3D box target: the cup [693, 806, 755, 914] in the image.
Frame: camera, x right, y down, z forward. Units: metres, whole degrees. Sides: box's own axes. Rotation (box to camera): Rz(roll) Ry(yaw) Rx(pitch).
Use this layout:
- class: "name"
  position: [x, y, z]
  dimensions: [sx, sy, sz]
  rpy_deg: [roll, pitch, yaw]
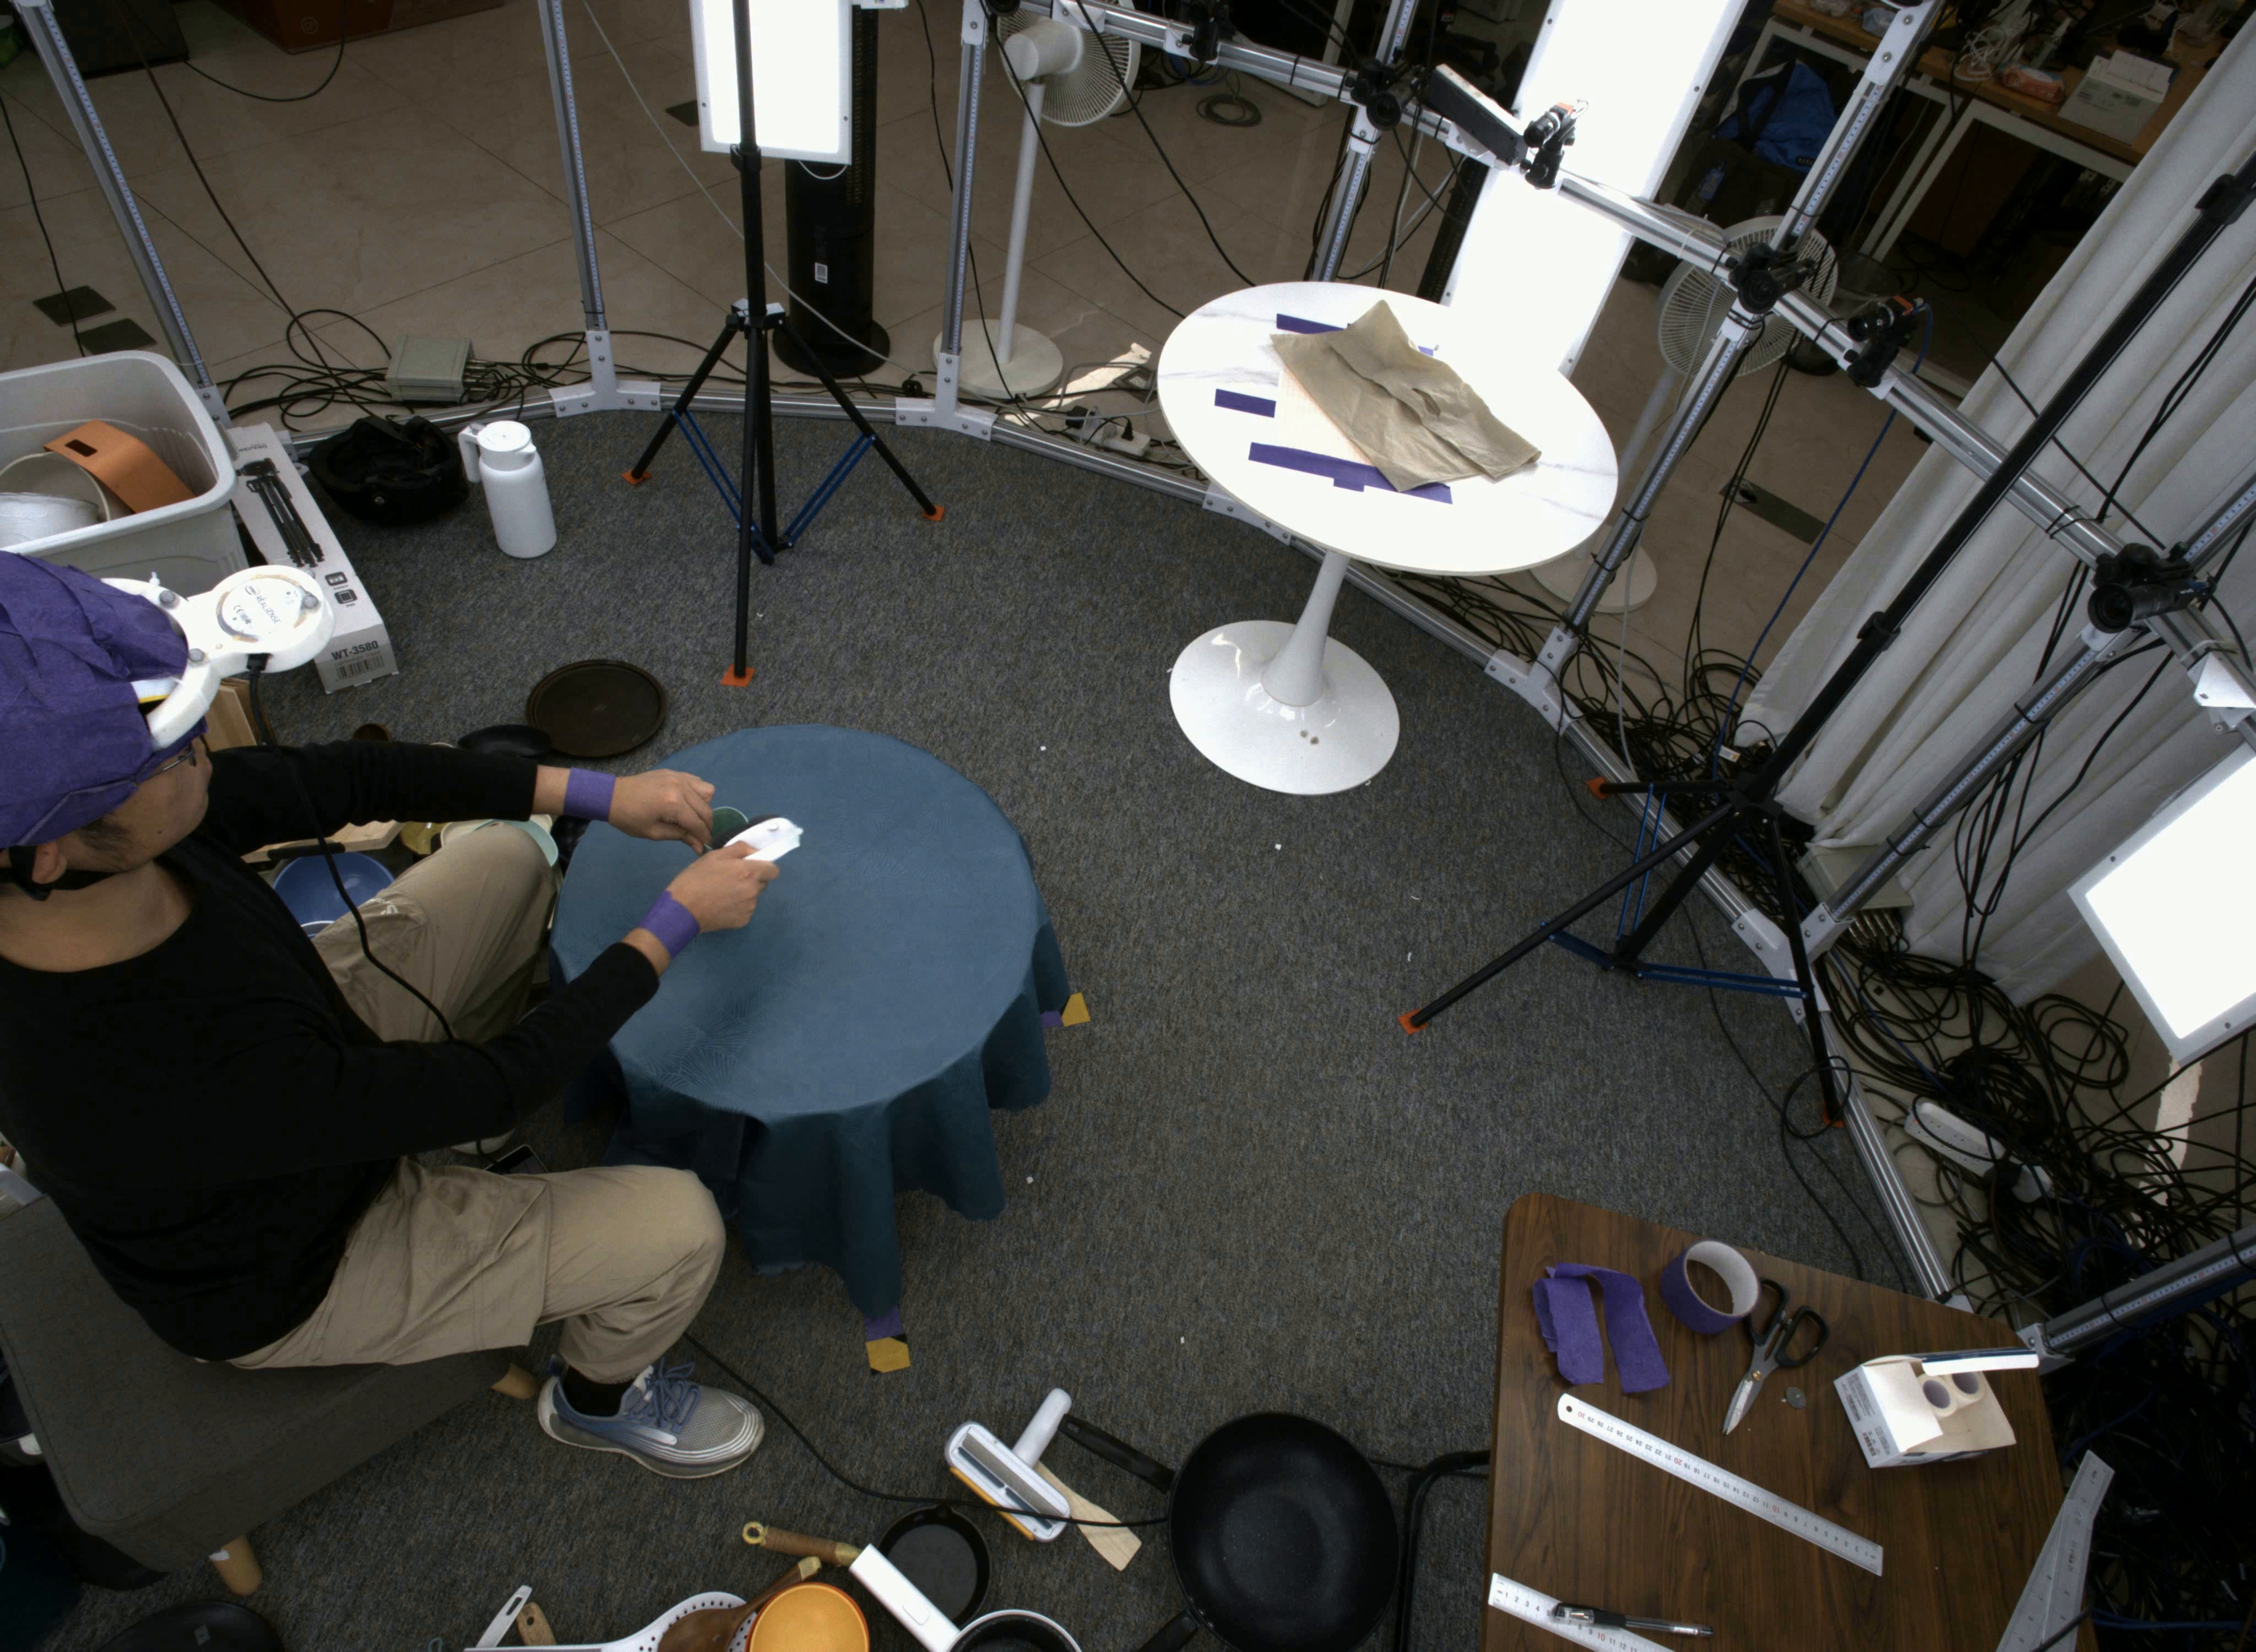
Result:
- class: "cup"
  position: [-0.497, 0.042, 1.598]
  dimensions: [0.066, 0.135, 0.065]
  rpy_deg: [7, 51, -7]

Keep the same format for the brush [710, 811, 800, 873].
- class: "brush"
  position: [-0.434, 0.021, 1.525]
  dimensions: [0.099, 0.052, 0.070]
  rpy_deg: [-29, 30, -34]
